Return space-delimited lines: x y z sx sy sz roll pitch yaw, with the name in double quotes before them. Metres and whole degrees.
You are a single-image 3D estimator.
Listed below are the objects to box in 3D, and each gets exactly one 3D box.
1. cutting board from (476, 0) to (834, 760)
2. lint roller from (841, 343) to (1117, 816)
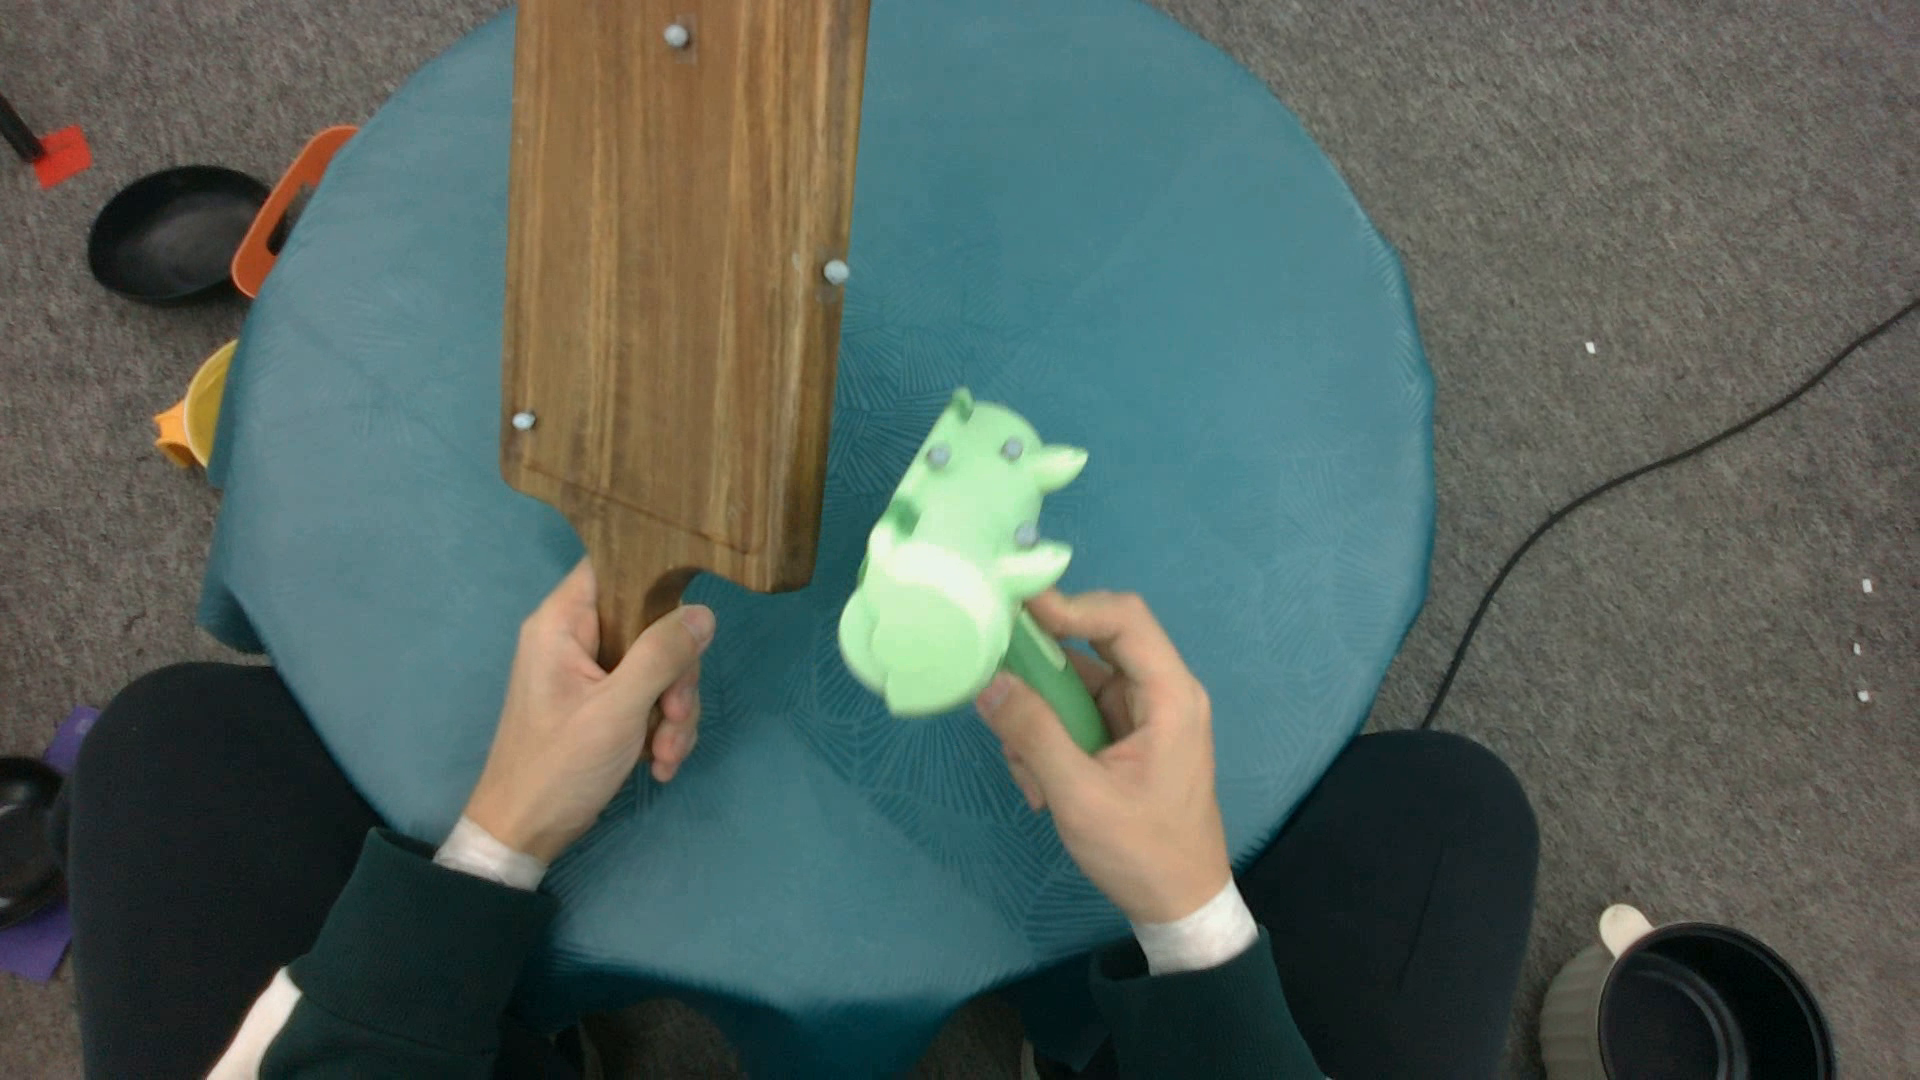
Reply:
"cutting board" -0.131 -0.080 0.541 0.201 0.023 0.351 16 107 39
"lint roller" 0.032 0.021 0.525 0.082 0.199 0.183 -31 104 15
